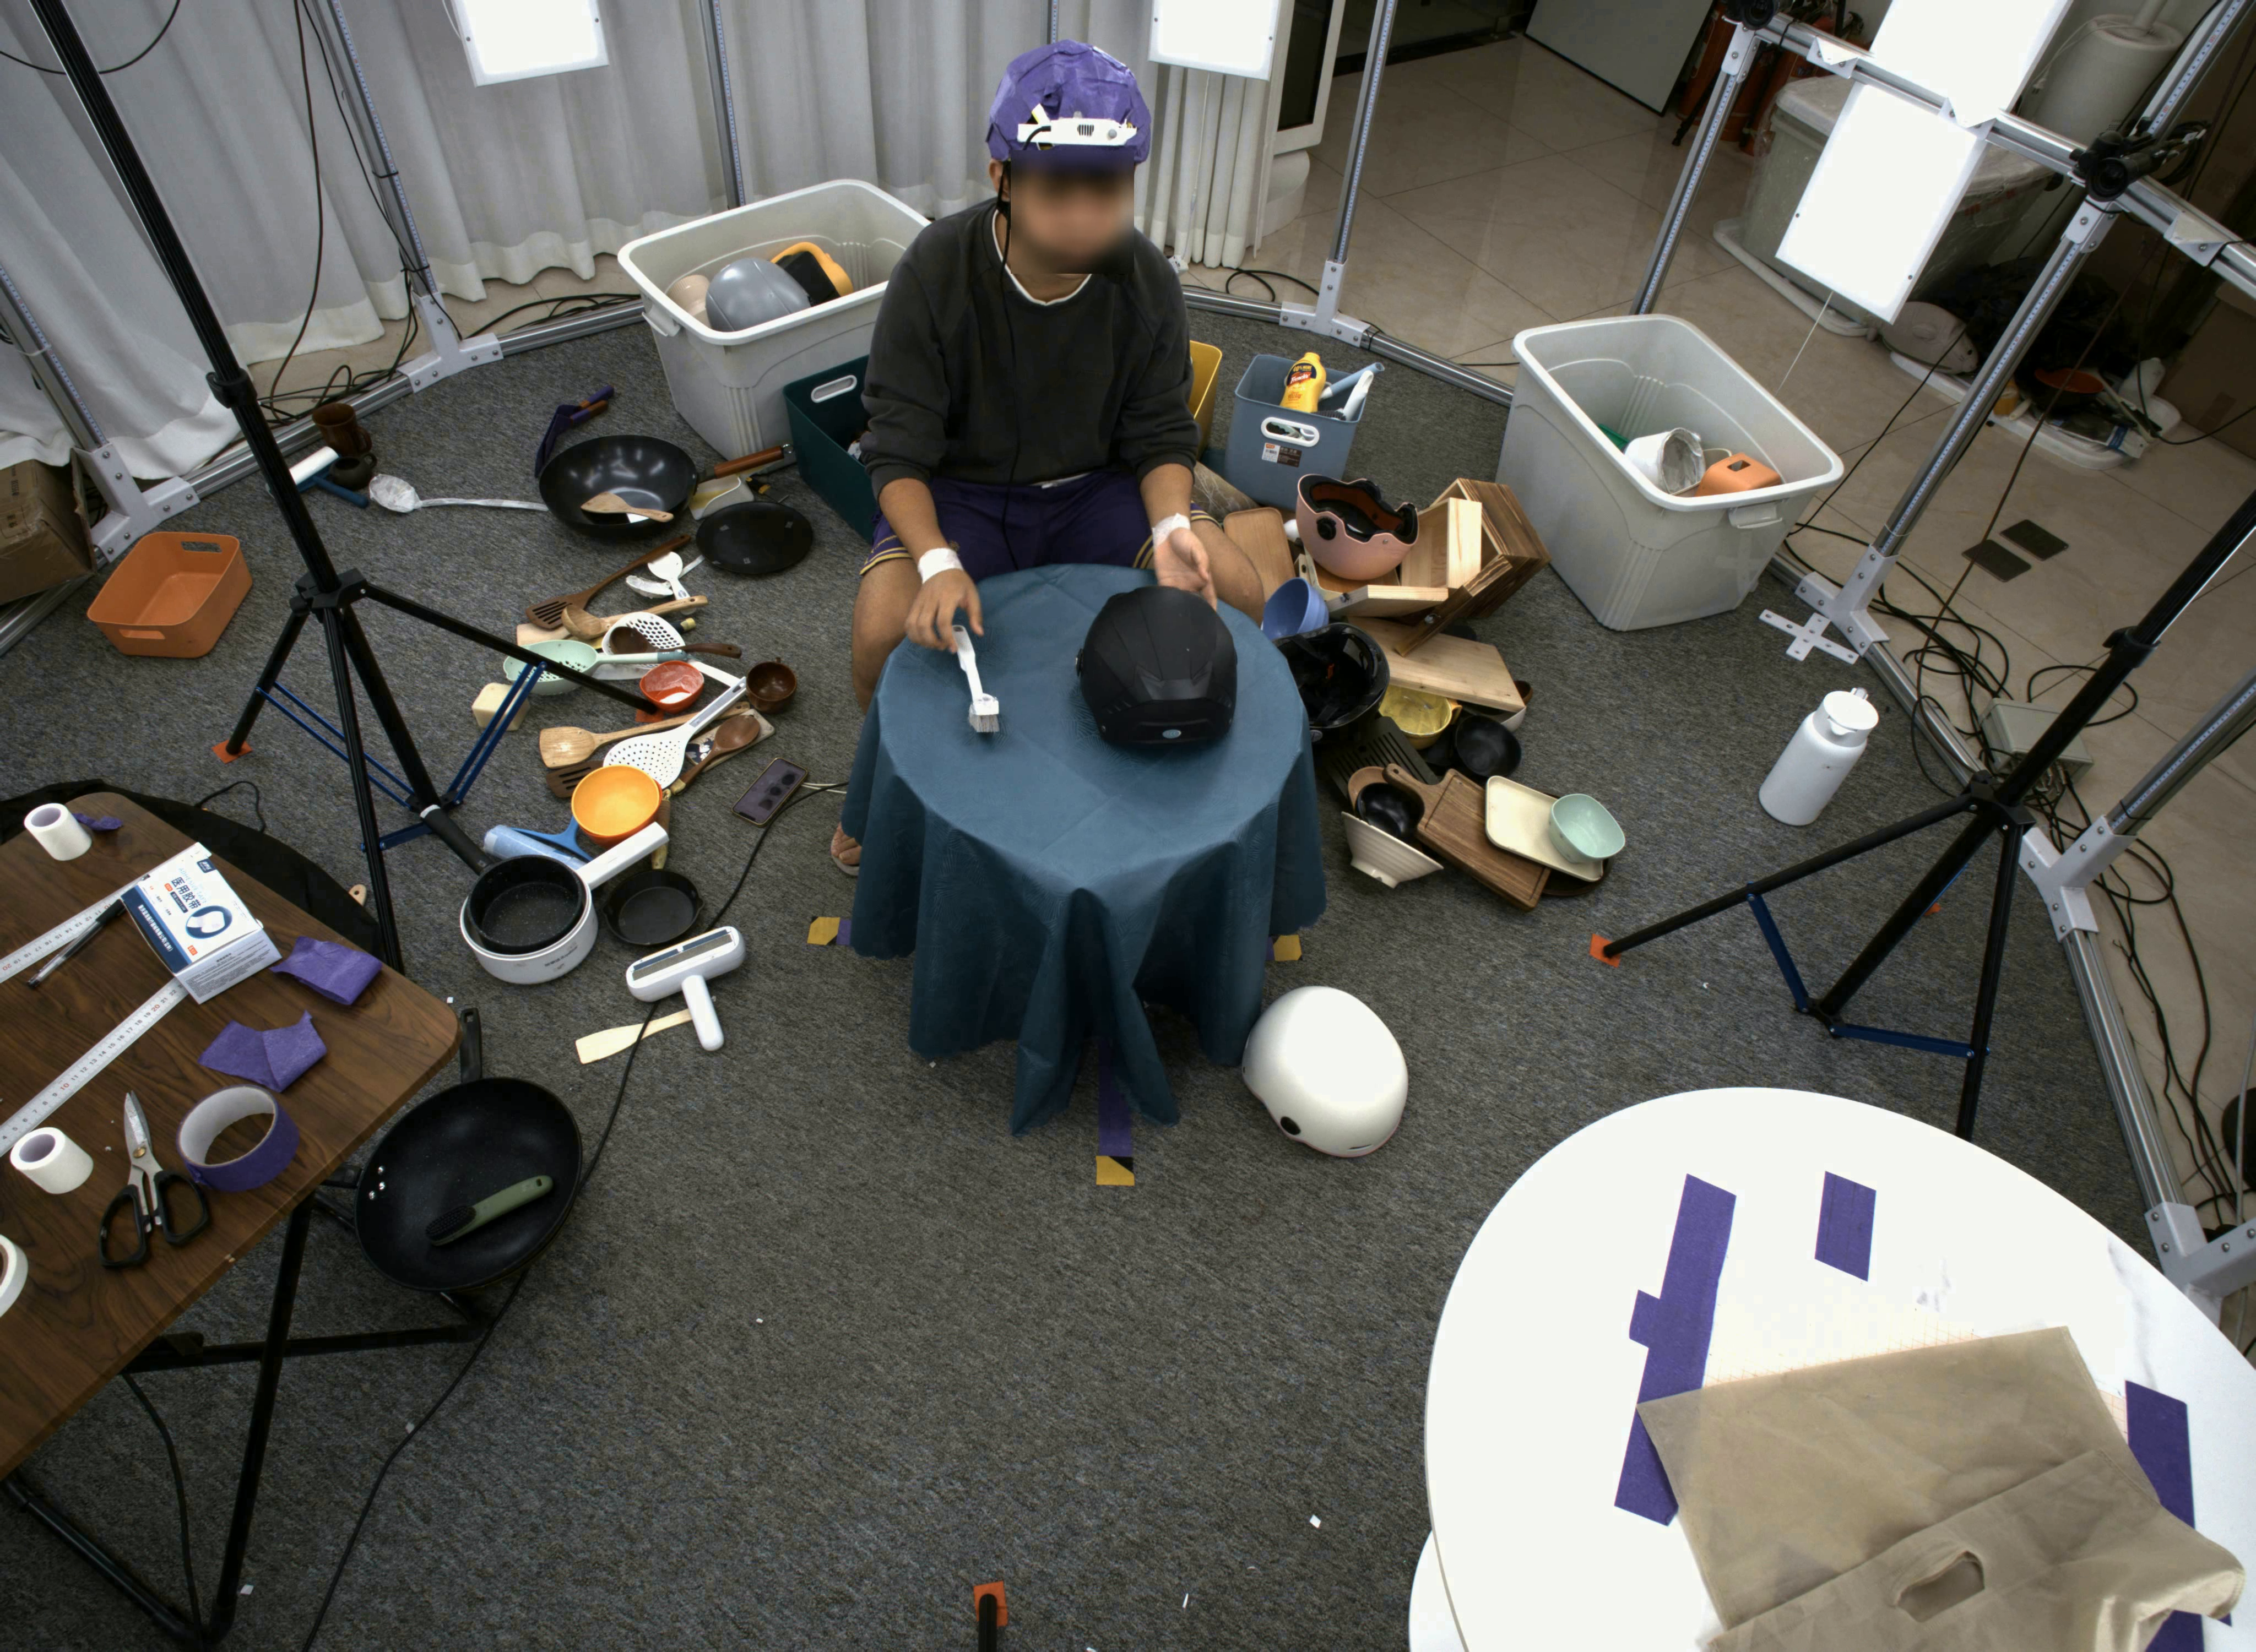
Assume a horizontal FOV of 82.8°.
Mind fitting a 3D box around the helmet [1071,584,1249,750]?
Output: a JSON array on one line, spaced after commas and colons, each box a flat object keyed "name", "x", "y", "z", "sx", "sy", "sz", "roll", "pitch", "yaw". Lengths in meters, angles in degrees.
[{"name": "helmet", "x": 0.049, "y": -0.239, "z": 1.774, "sx": 0.246, "sy": 0.168, "sz": 0.283, "roll": -2, "pitch": 51, "yaw": -6}]

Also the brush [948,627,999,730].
[{"name": "brush", "x": -0.222, "y": -0.207, "z": 1.817, "sx": 0.034, "sy": 0.049, "sz": 0.249, "roll": -5, "pitch": 36, "yaw": -17}]
